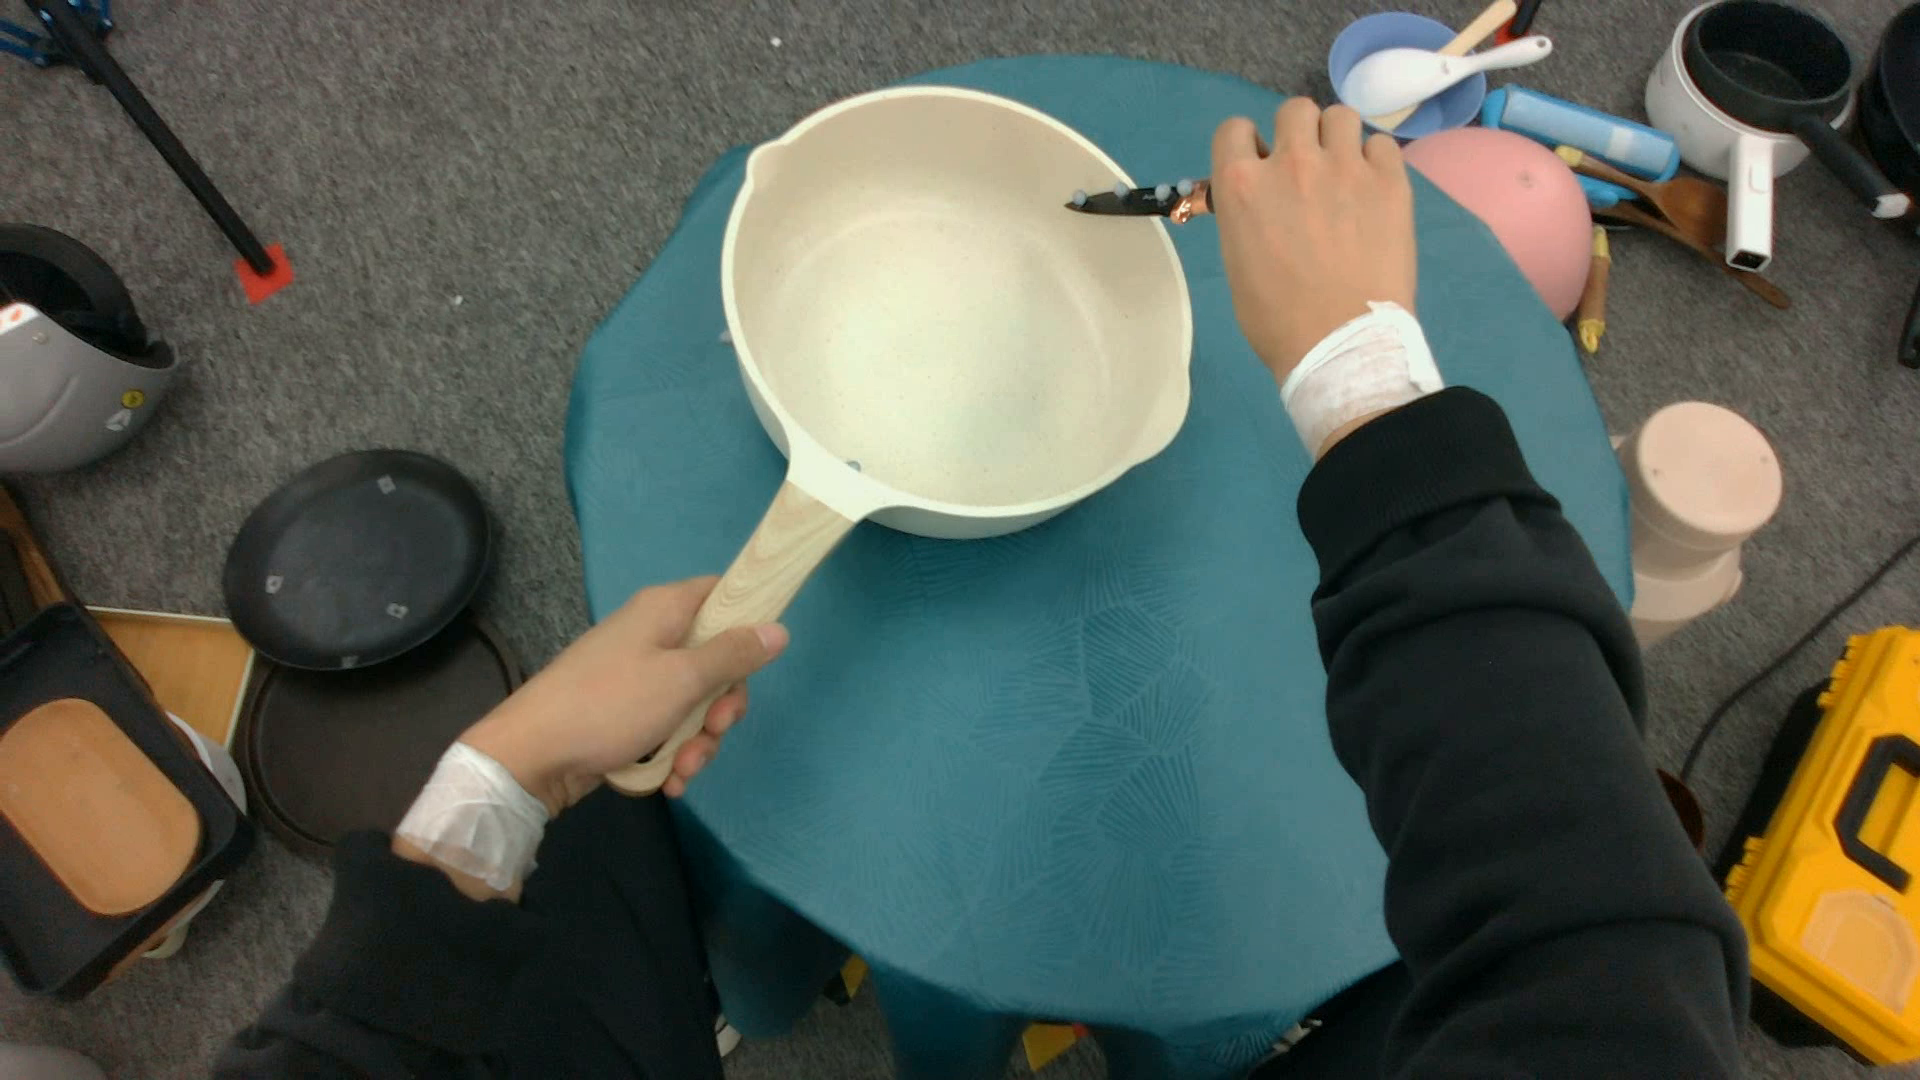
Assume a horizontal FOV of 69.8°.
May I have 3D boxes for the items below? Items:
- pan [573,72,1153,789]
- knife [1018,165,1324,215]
[{"bbox_3d":[-0.067,-0.056,0.710,0.263,0.101,0.436,33,65,-3],"label":"pan"},{"bbox_3d":[0.098,-0.179,0.706,0.017,0.225,0.026,30,84,-35],"label":"knife"}]
